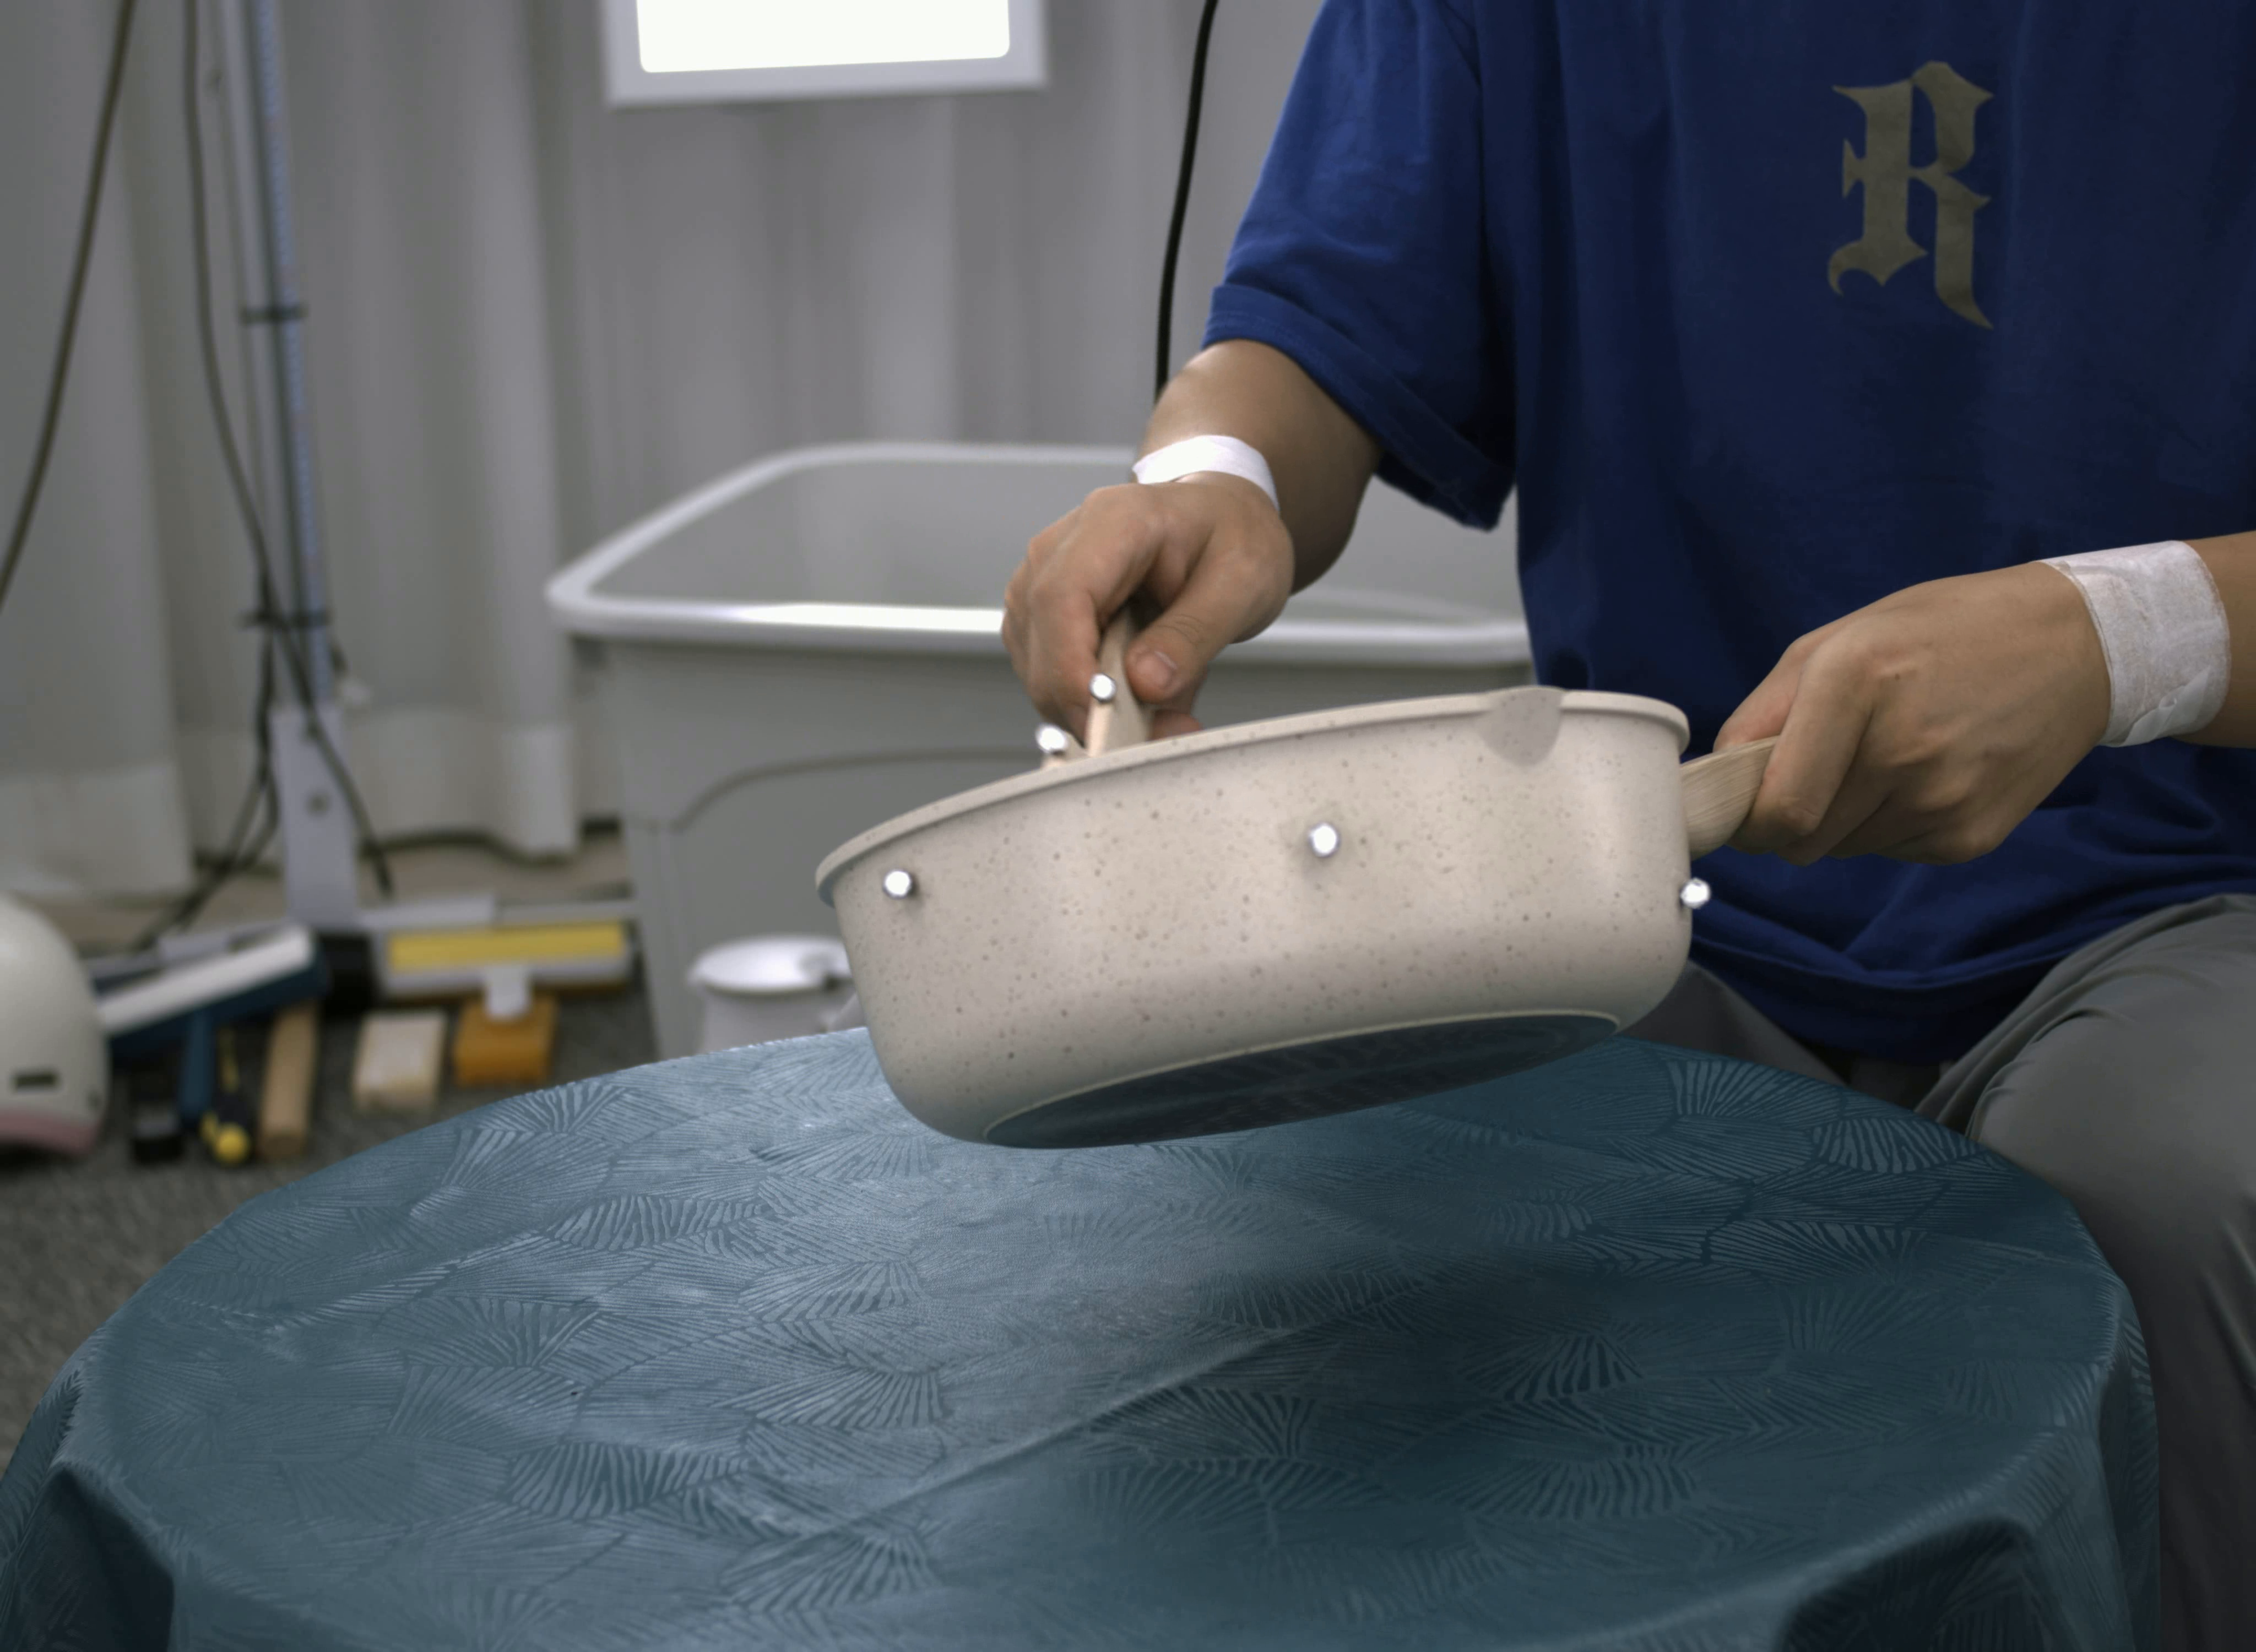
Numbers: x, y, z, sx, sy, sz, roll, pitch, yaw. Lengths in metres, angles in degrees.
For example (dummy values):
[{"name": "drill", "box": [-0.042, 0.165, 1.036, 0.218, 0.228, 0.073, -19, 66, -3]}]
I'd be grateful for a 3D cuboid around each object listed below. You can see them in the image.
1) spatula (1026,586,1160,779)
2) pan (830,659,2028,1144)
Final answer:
[{"name": "spatula", "box": [-0.007, -0.022, 1.662, 0.010, 0.072, 0.295, -19, 17, 10]}, {"name": "pan", "box": [0.117, 0.019, 1.593, 0.432, 0.103, 0.262, -2, -15, -37]}]
